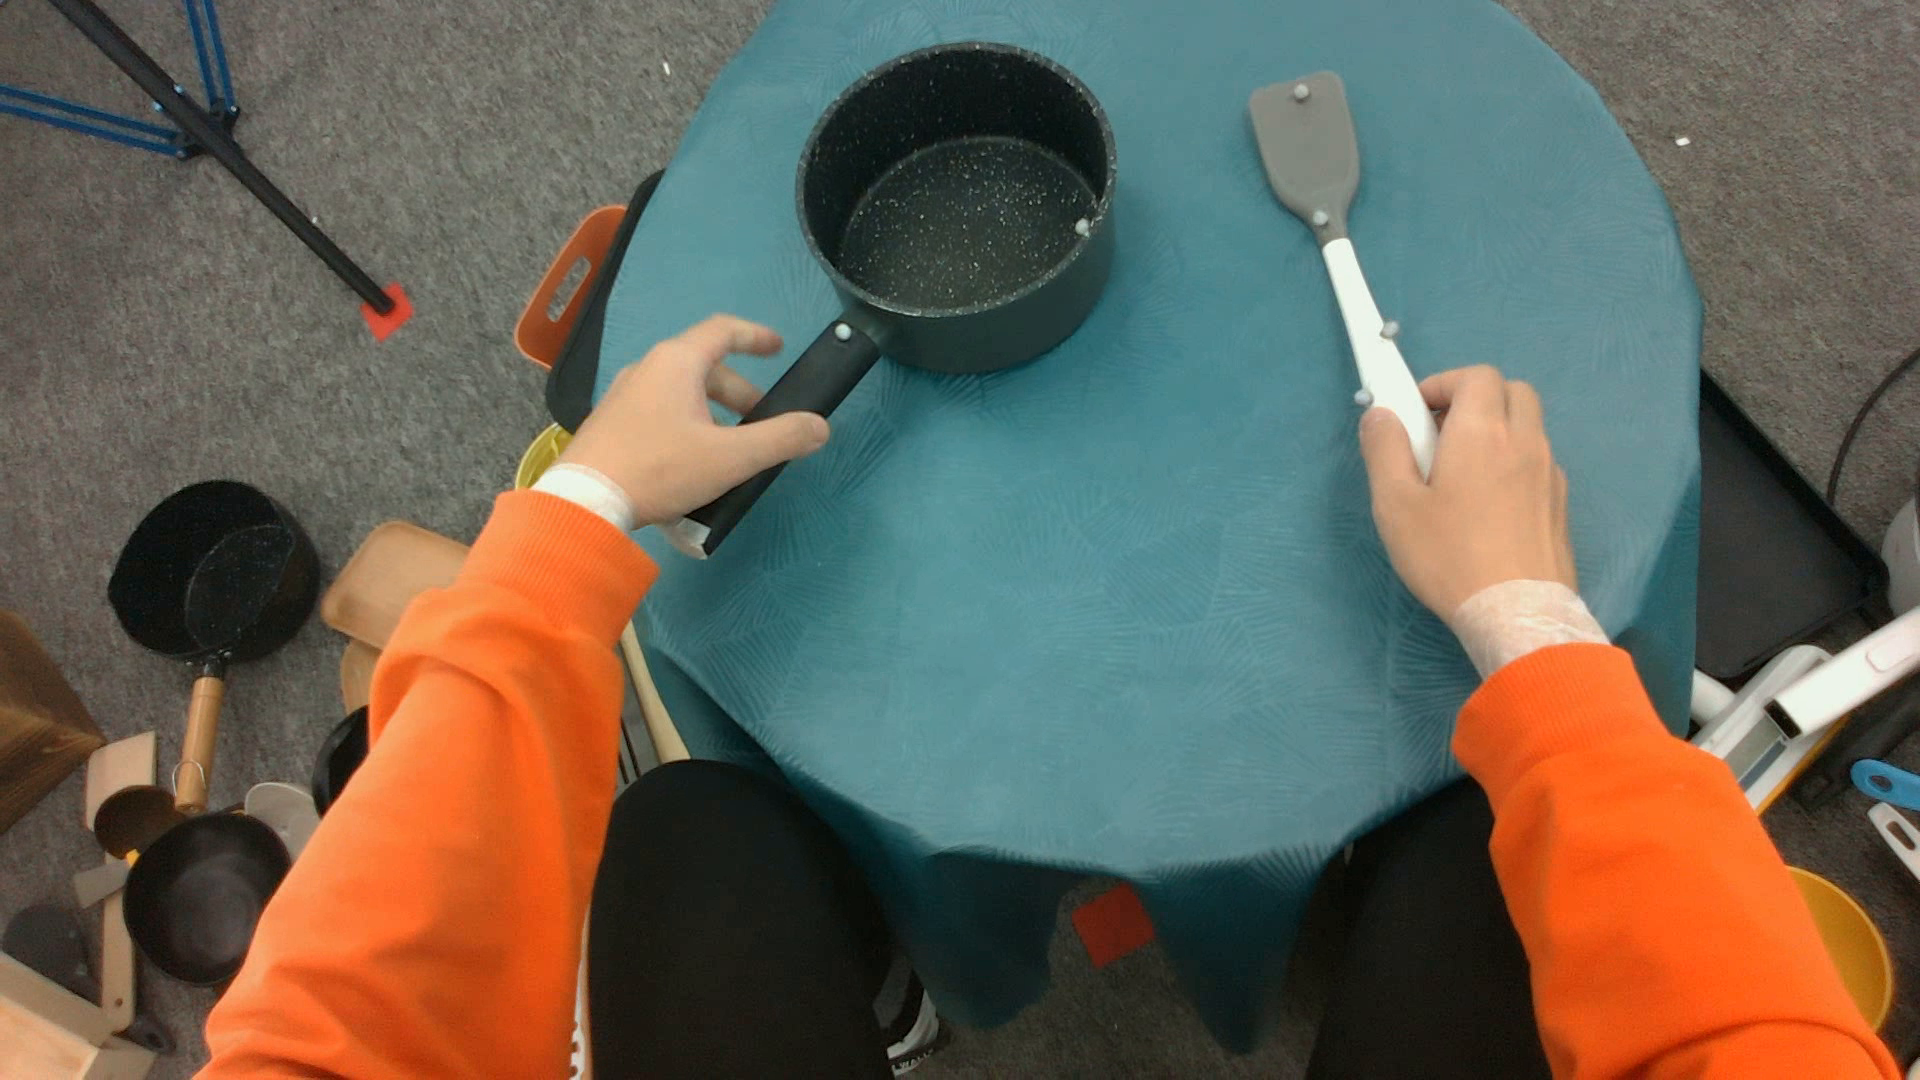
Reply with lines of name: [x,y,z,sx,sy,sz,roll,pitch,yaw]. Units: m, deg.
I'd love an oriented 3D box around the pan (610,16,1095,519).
pan: [-0.056,-0.131,0.732,0.172,0.086,0.329,32,74,19]

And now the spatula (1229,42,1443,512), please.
spatula: [0.198,-0.148,0.729,0.058,0.032,0.288,-12,64,6]
